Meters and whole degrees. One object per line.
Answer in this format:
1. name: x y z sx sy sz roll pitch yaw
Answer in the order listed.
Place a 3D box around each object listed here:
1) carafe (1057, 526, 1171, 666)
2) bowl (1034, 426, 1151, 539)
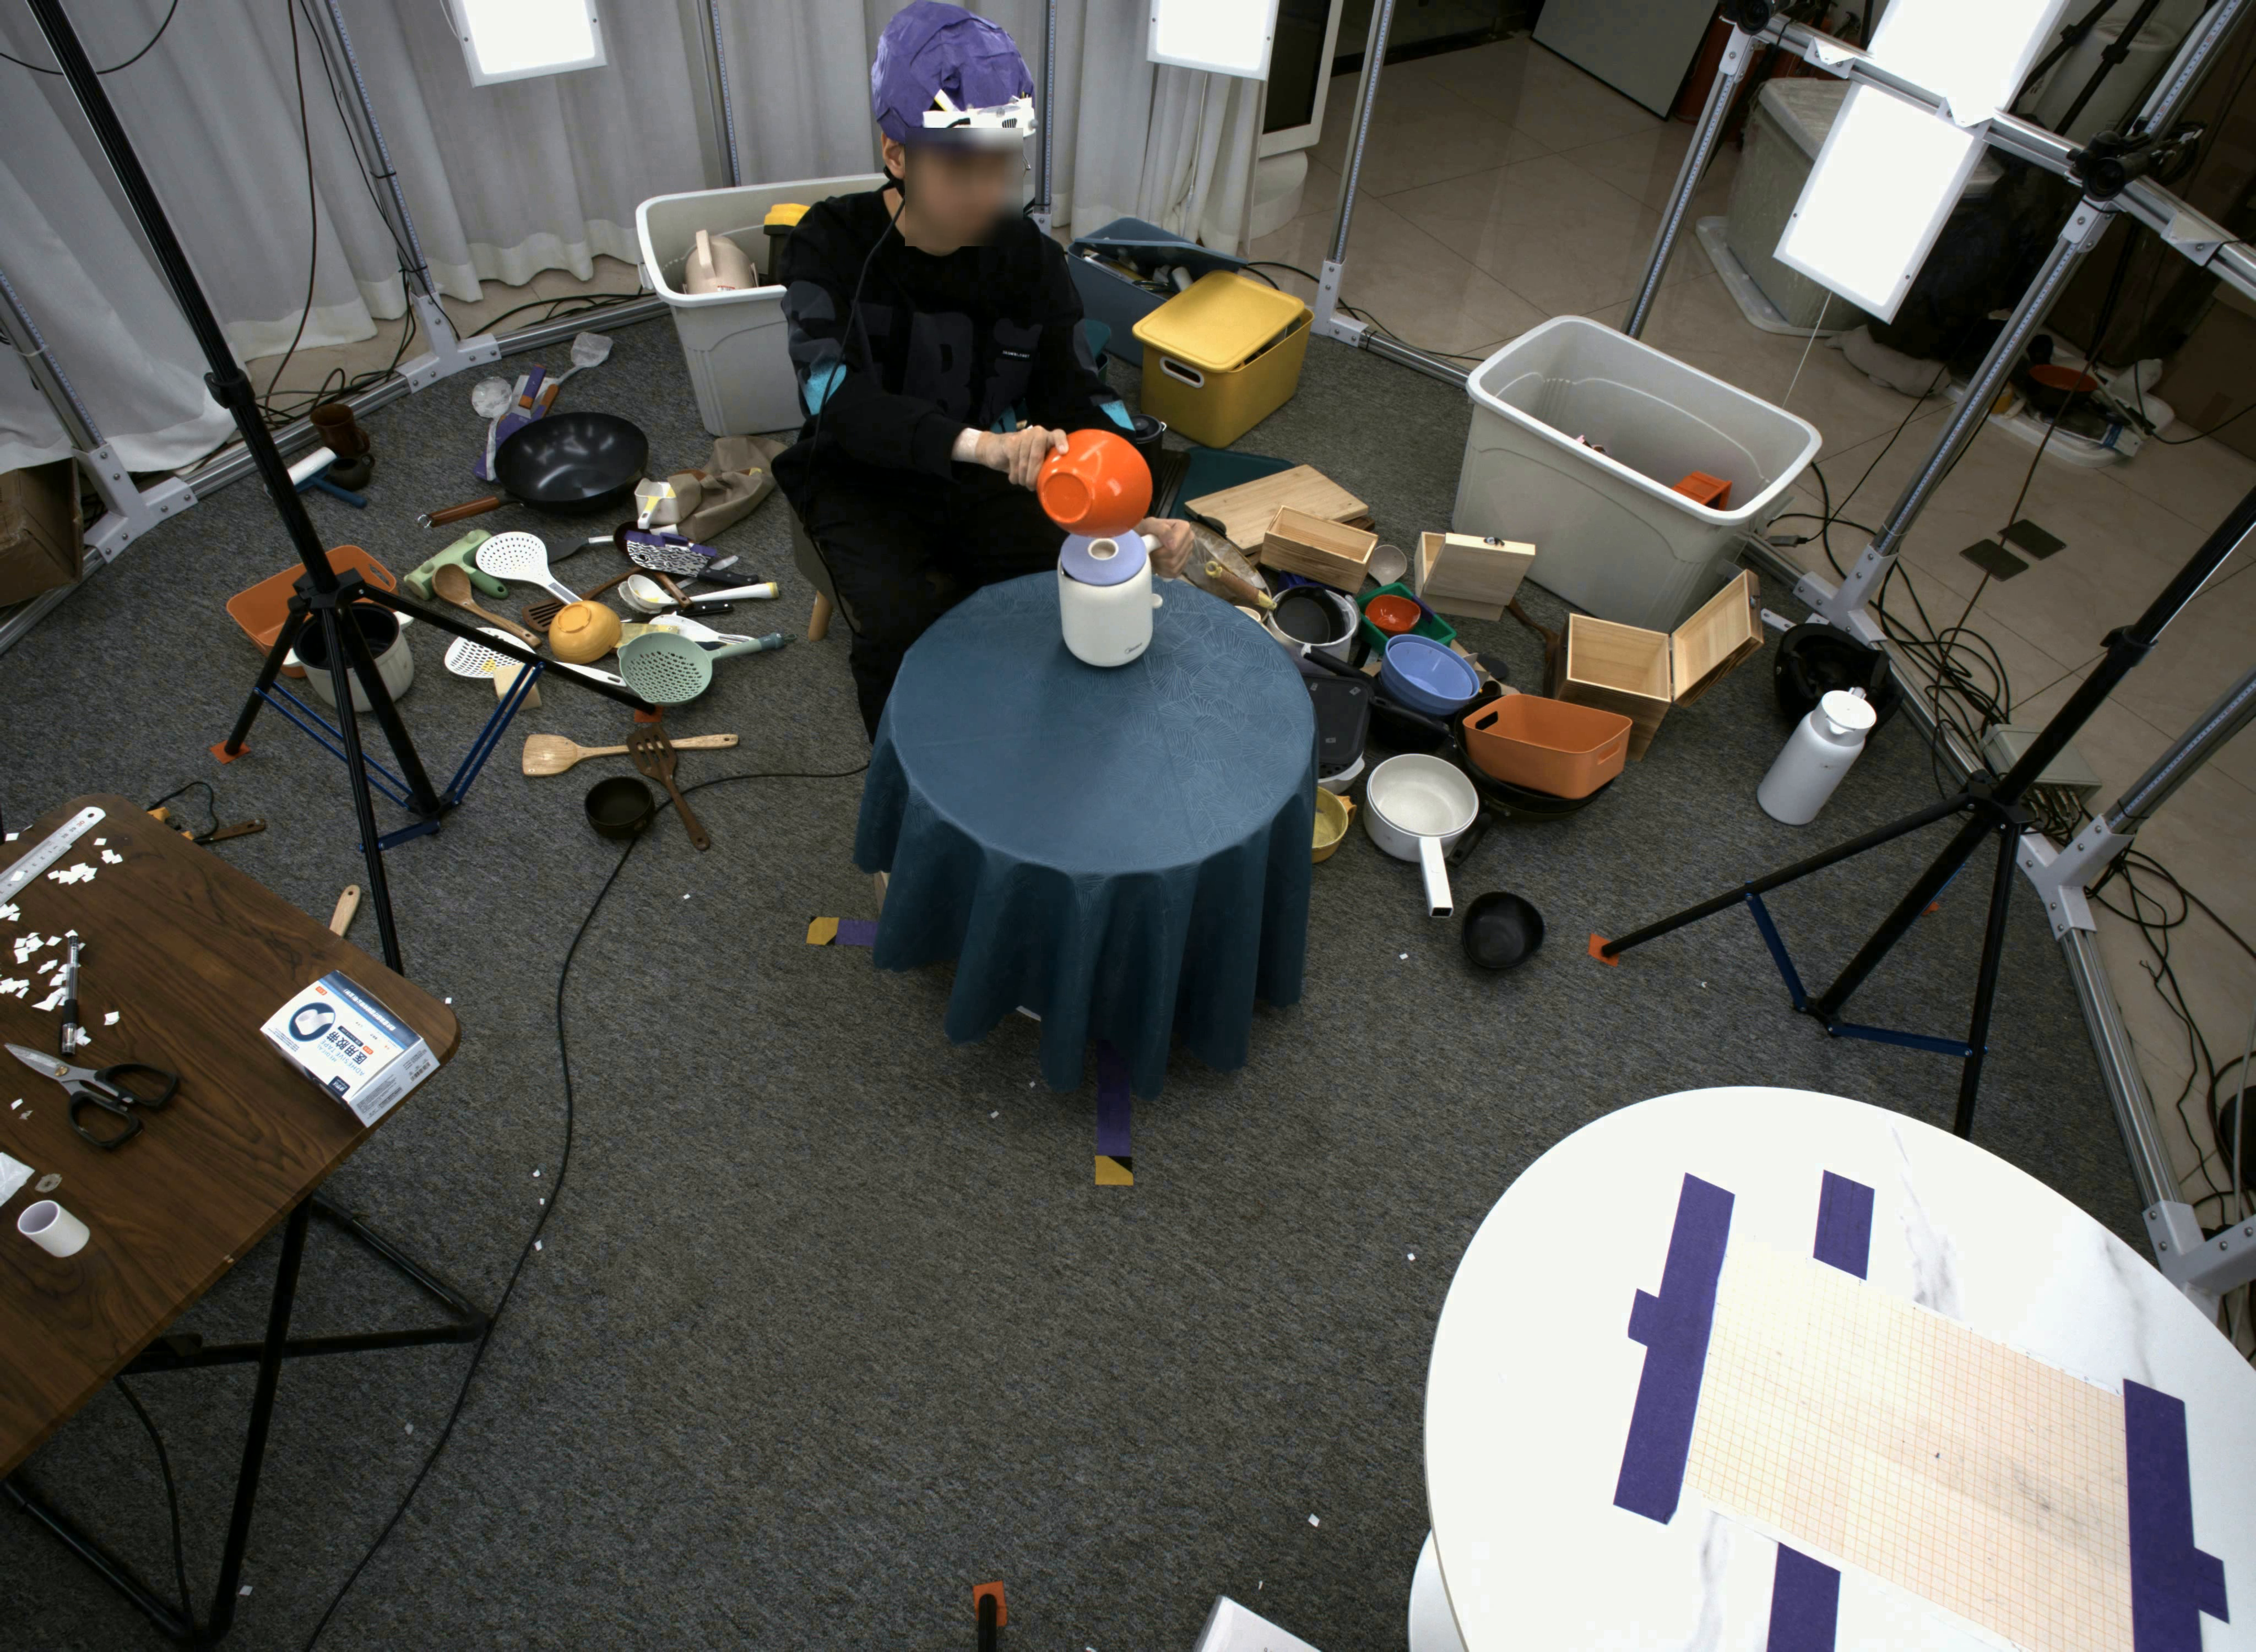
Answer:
1. carafe: -0.013 -0.340 1.828 0.192 0.178 0.134 -32 61 -21
2. bowl: -0.055 -0.421 1.624 0.149 0.145 0.106 19 32 12
